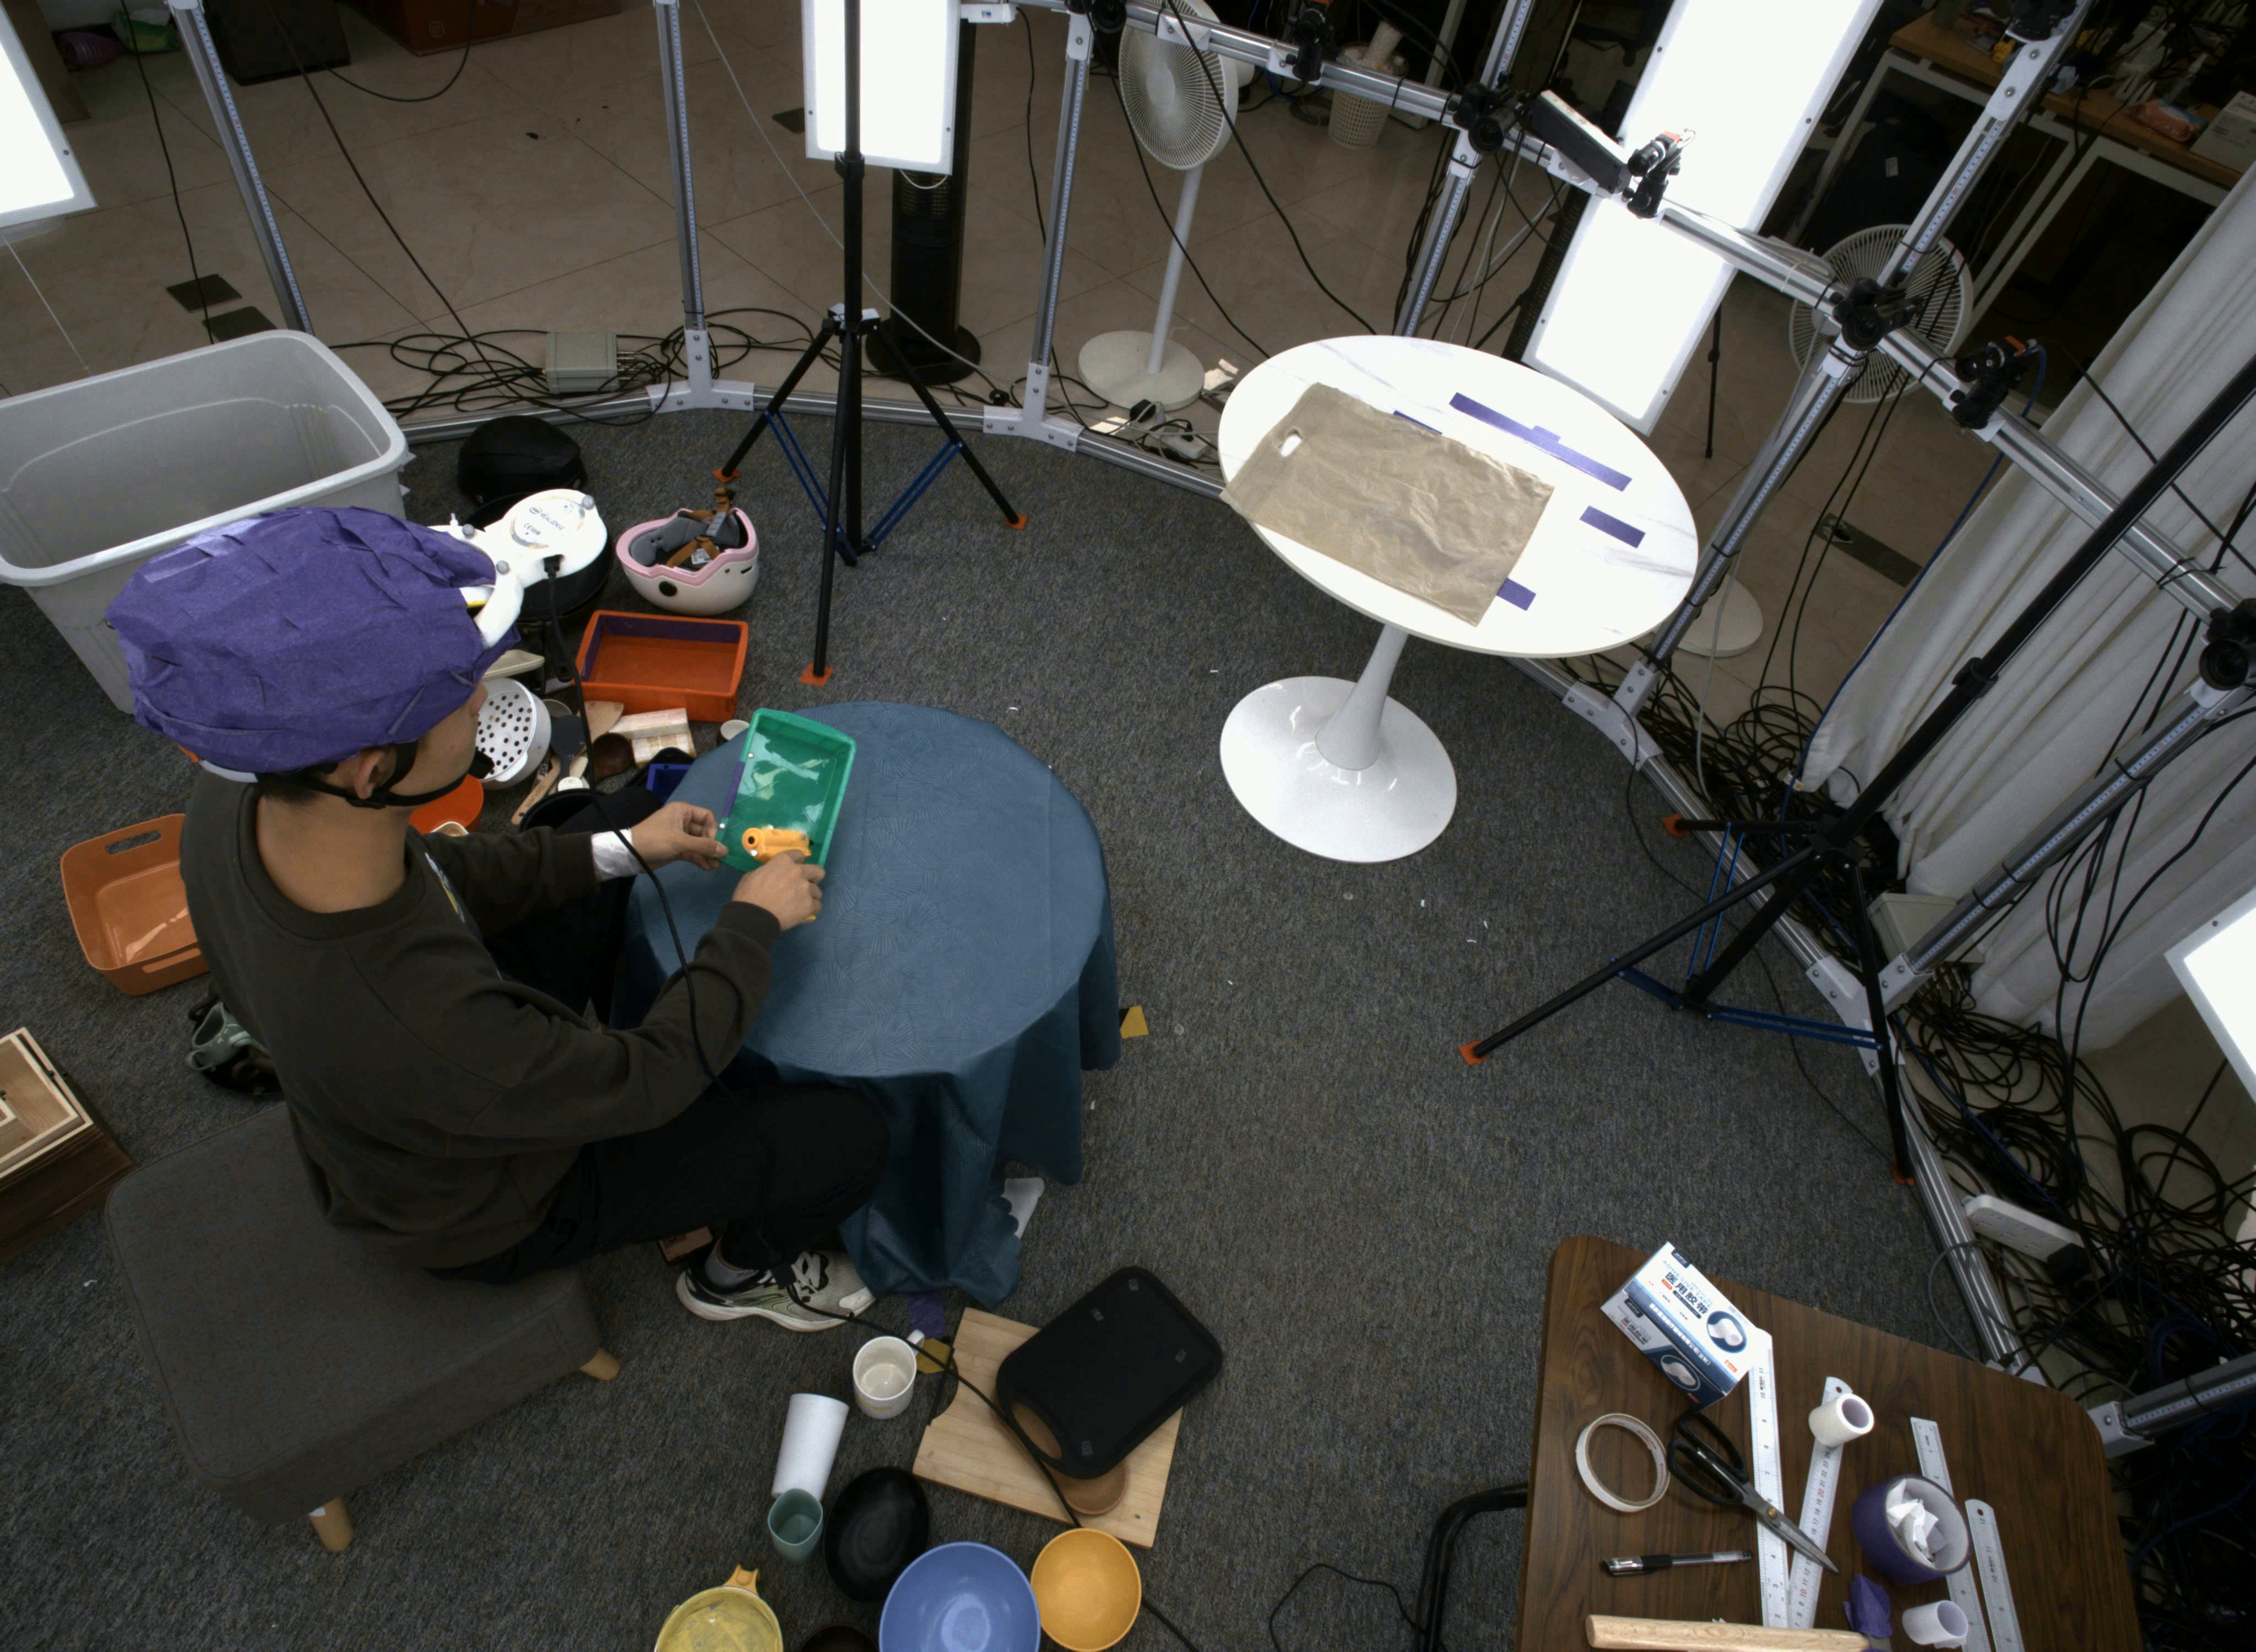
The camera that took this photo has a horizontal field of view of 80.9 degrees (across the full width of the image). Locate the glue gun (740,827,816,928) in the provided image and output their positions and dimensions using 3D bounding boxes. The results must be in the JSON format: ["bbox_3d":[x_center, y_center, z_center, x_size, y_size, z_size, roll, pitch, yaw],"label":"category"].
[{"bbox_3d":[-0.405,0.058,1.599,0.031,0.152,0.133,-30,87,13],"label":"glue gun"}]

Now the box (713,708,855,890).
[{"bbox_3d":[-0.437,-0.031,1.634,0.141,0.064,0.211,16,80,-24],"label":"box"}]
